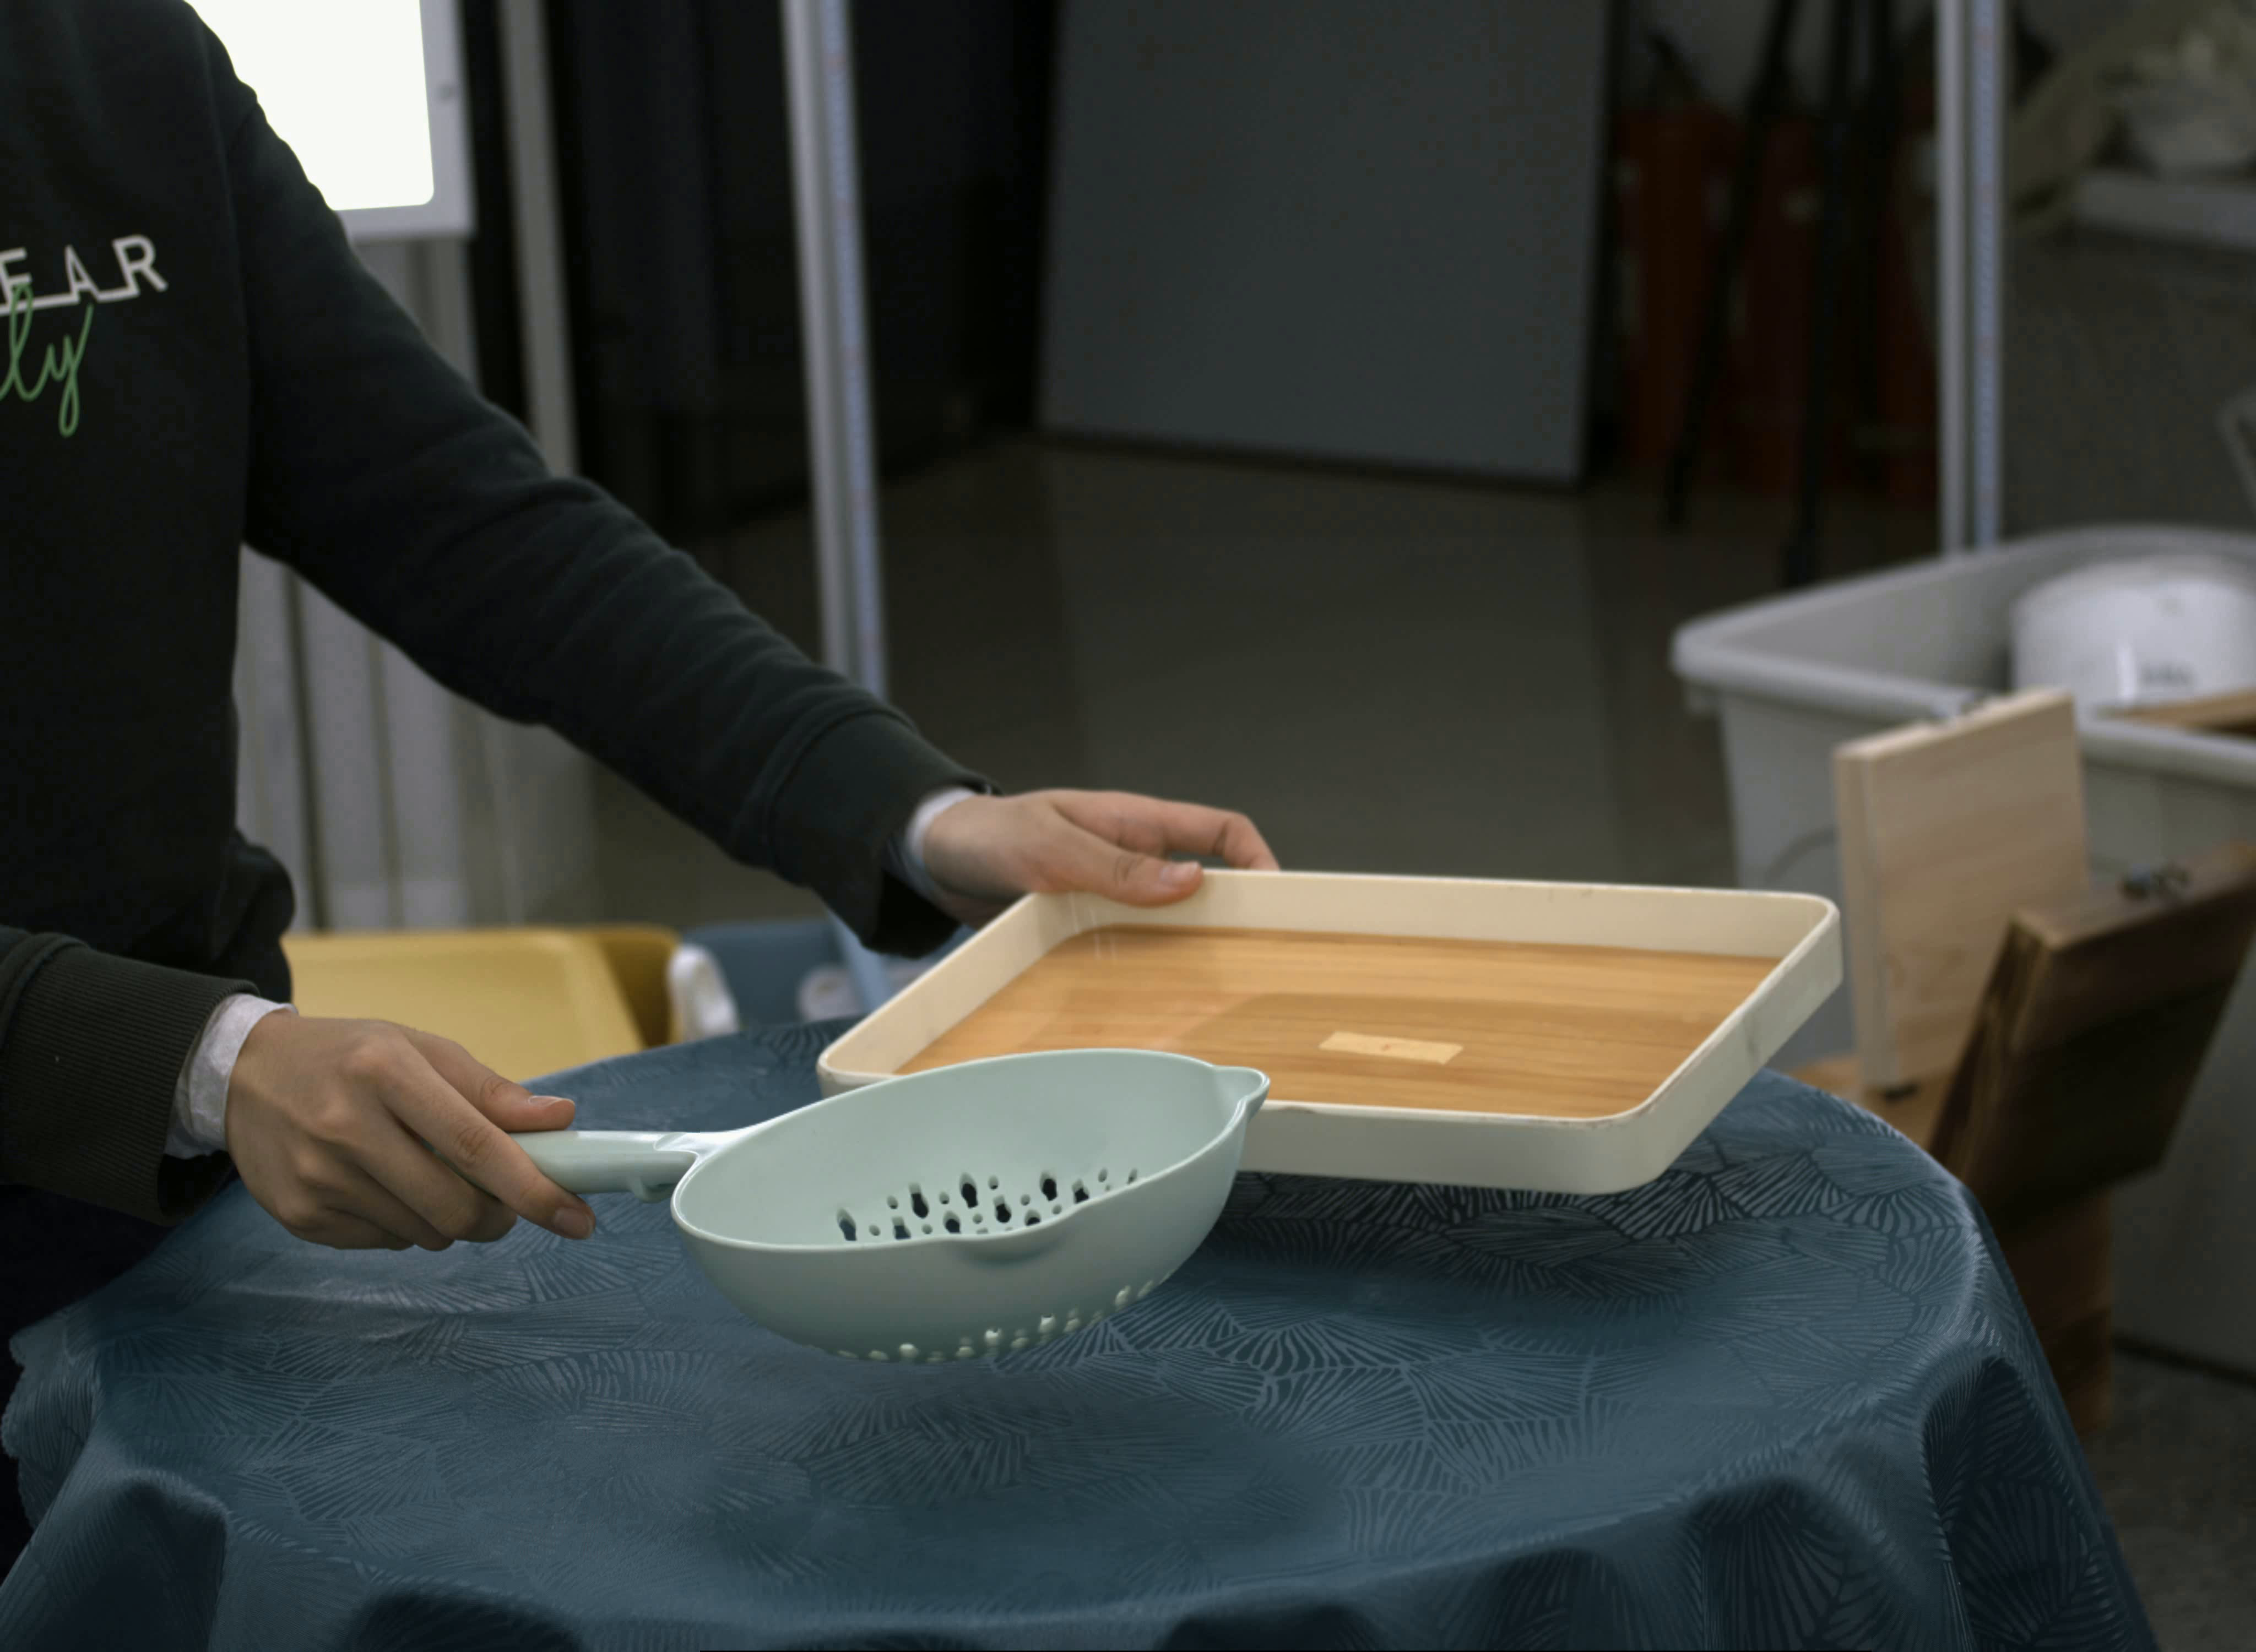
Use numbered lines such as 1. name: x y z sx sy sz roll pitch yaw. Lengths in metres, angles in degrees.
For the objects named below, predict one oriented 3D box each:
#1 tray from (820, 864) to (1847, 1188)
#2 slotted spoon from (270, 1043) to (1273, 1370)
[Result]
1. tray: 0.067 0.062 1.753 0.301 0.027 0.189 2 22 31
2. slotted spoon: -0.124 0.104 1.606 0.361 0.076 0.166 9 21 34
